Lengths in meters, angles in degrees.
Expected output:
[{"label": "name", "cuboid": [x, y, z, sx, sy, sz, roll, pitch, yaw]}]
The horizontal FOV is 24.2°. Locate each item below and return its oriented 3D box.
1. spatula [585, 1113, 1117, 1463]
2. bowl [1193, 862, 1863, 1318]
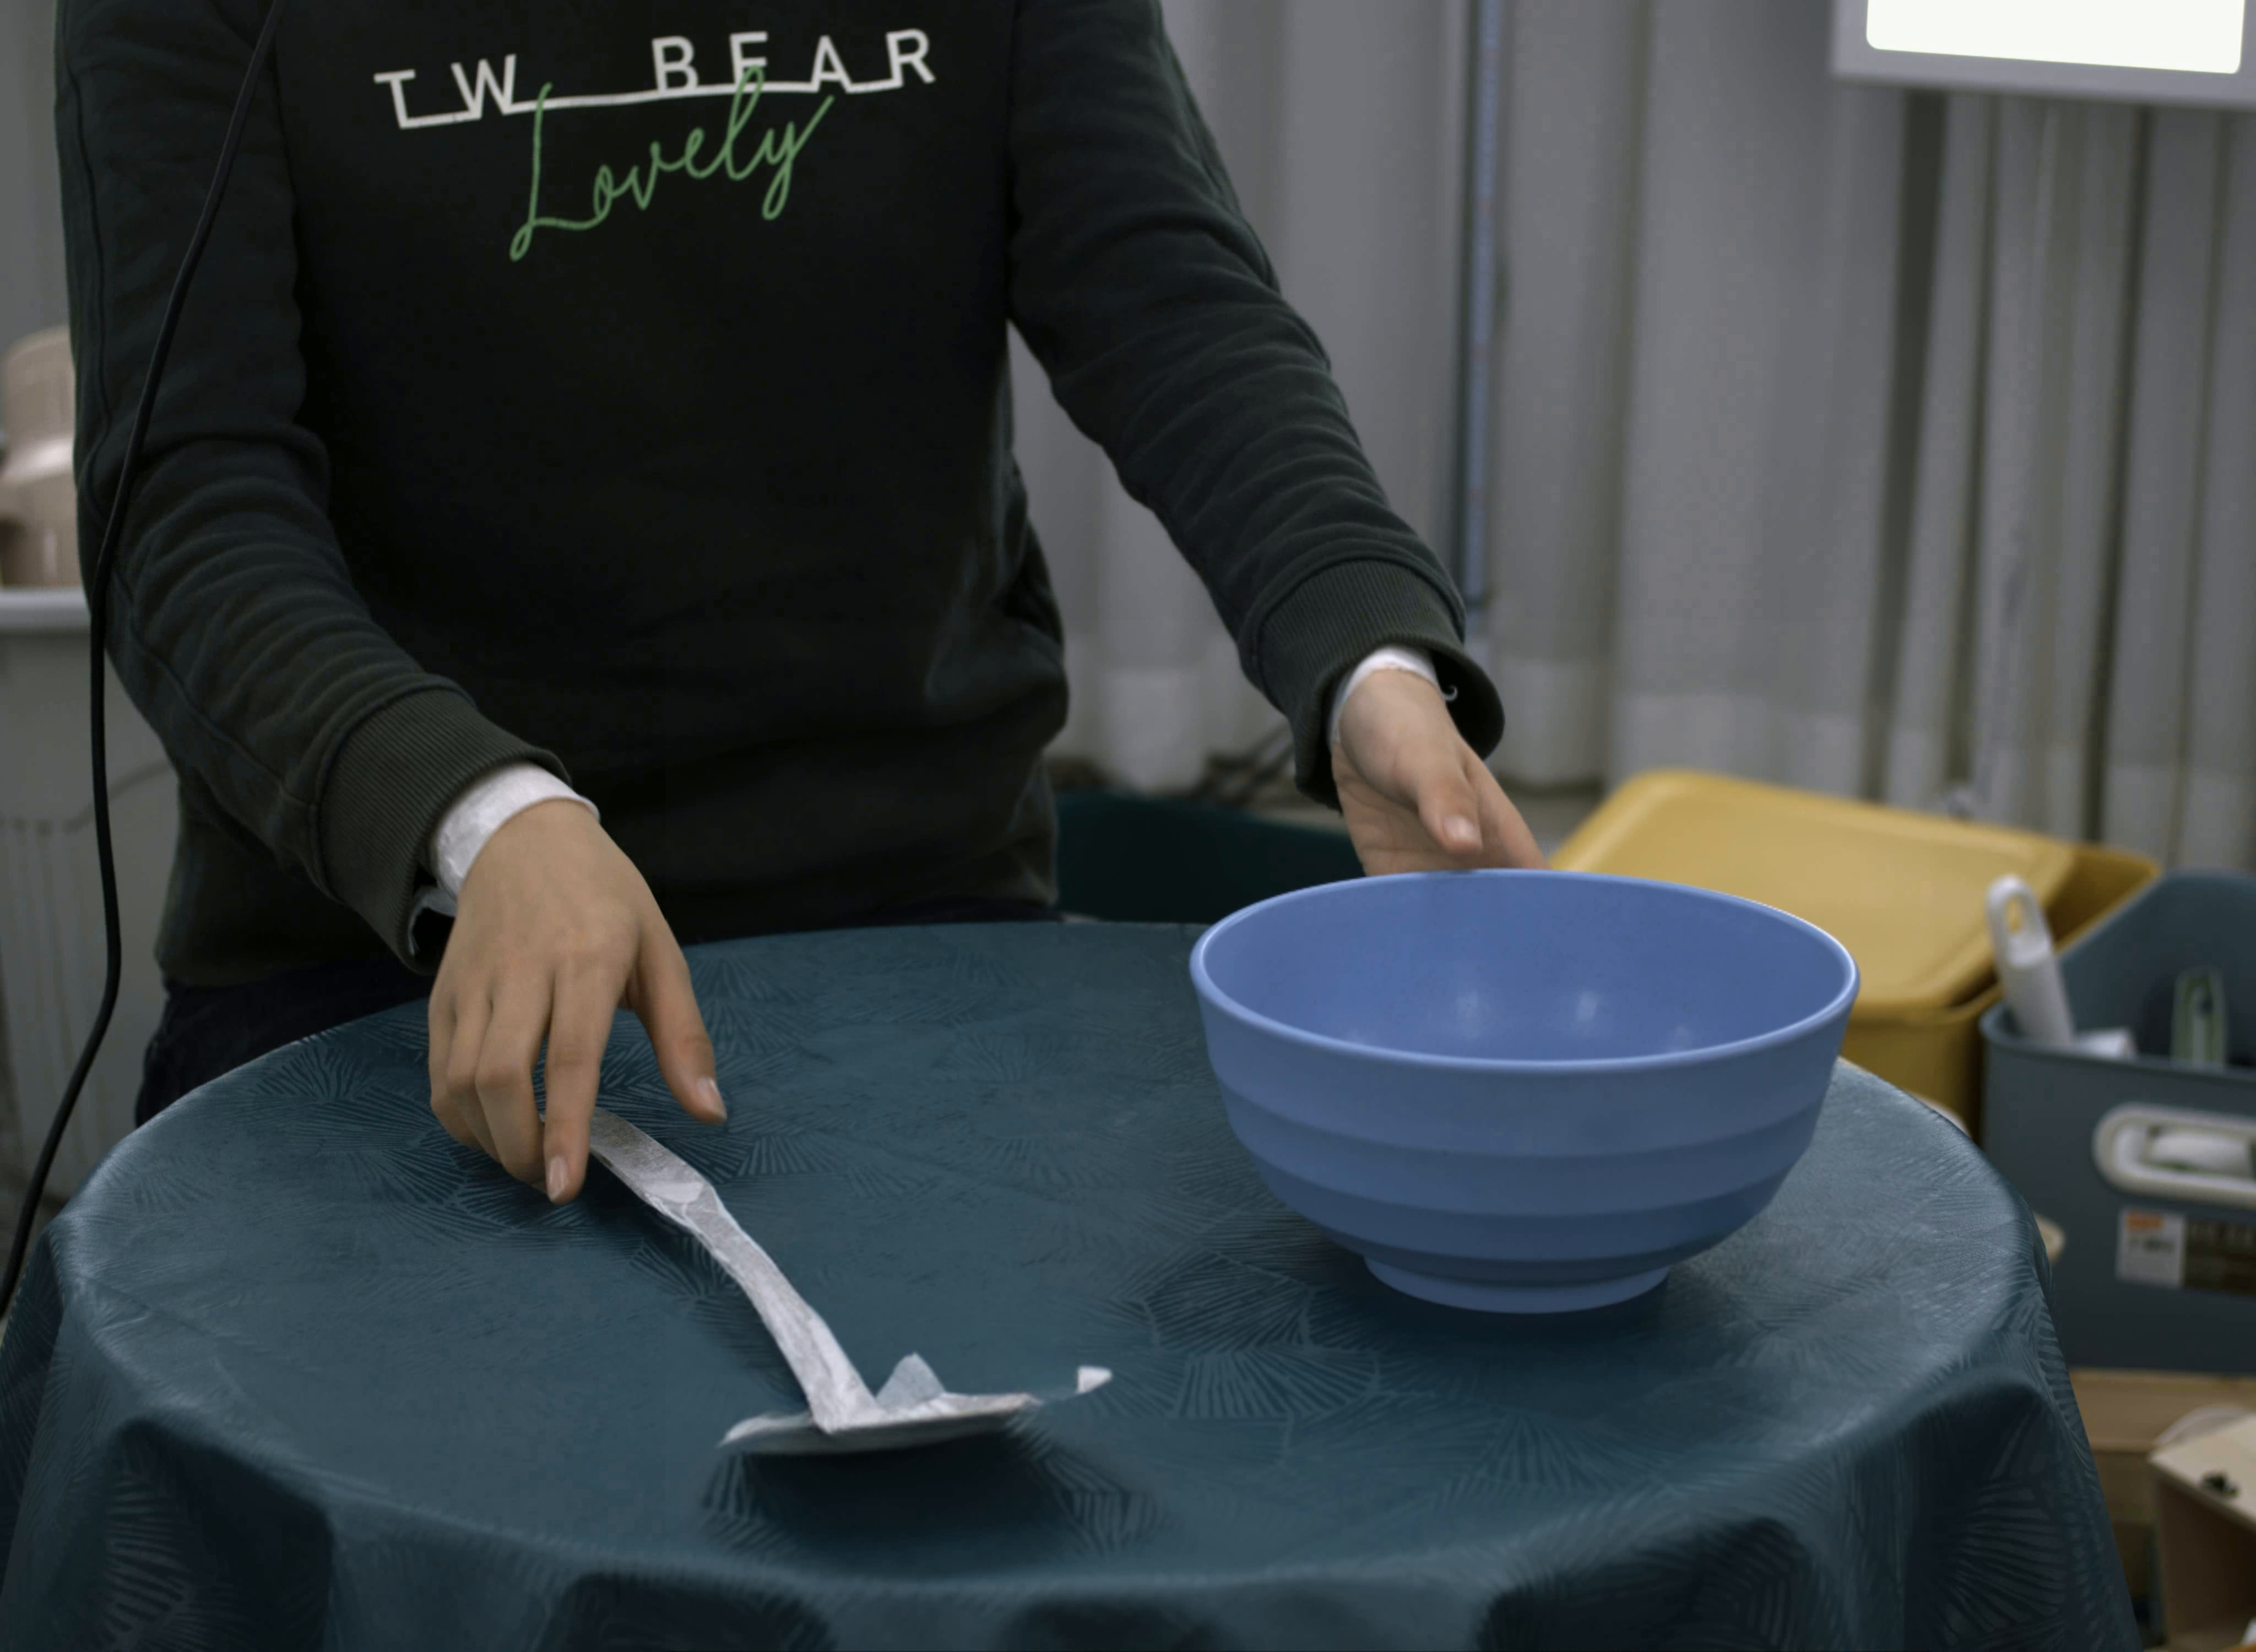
[{"label": "spatula", "cuboid": [-0.105, 0.123, 1.514, 0.099, 0.045, 0.360, -8, 18, -20]}, {"label": "bowl", "cuboid": [0.116, 0.084, 1.556, 0.196, 0.096, 0.195, 1, 17, 0]}]
